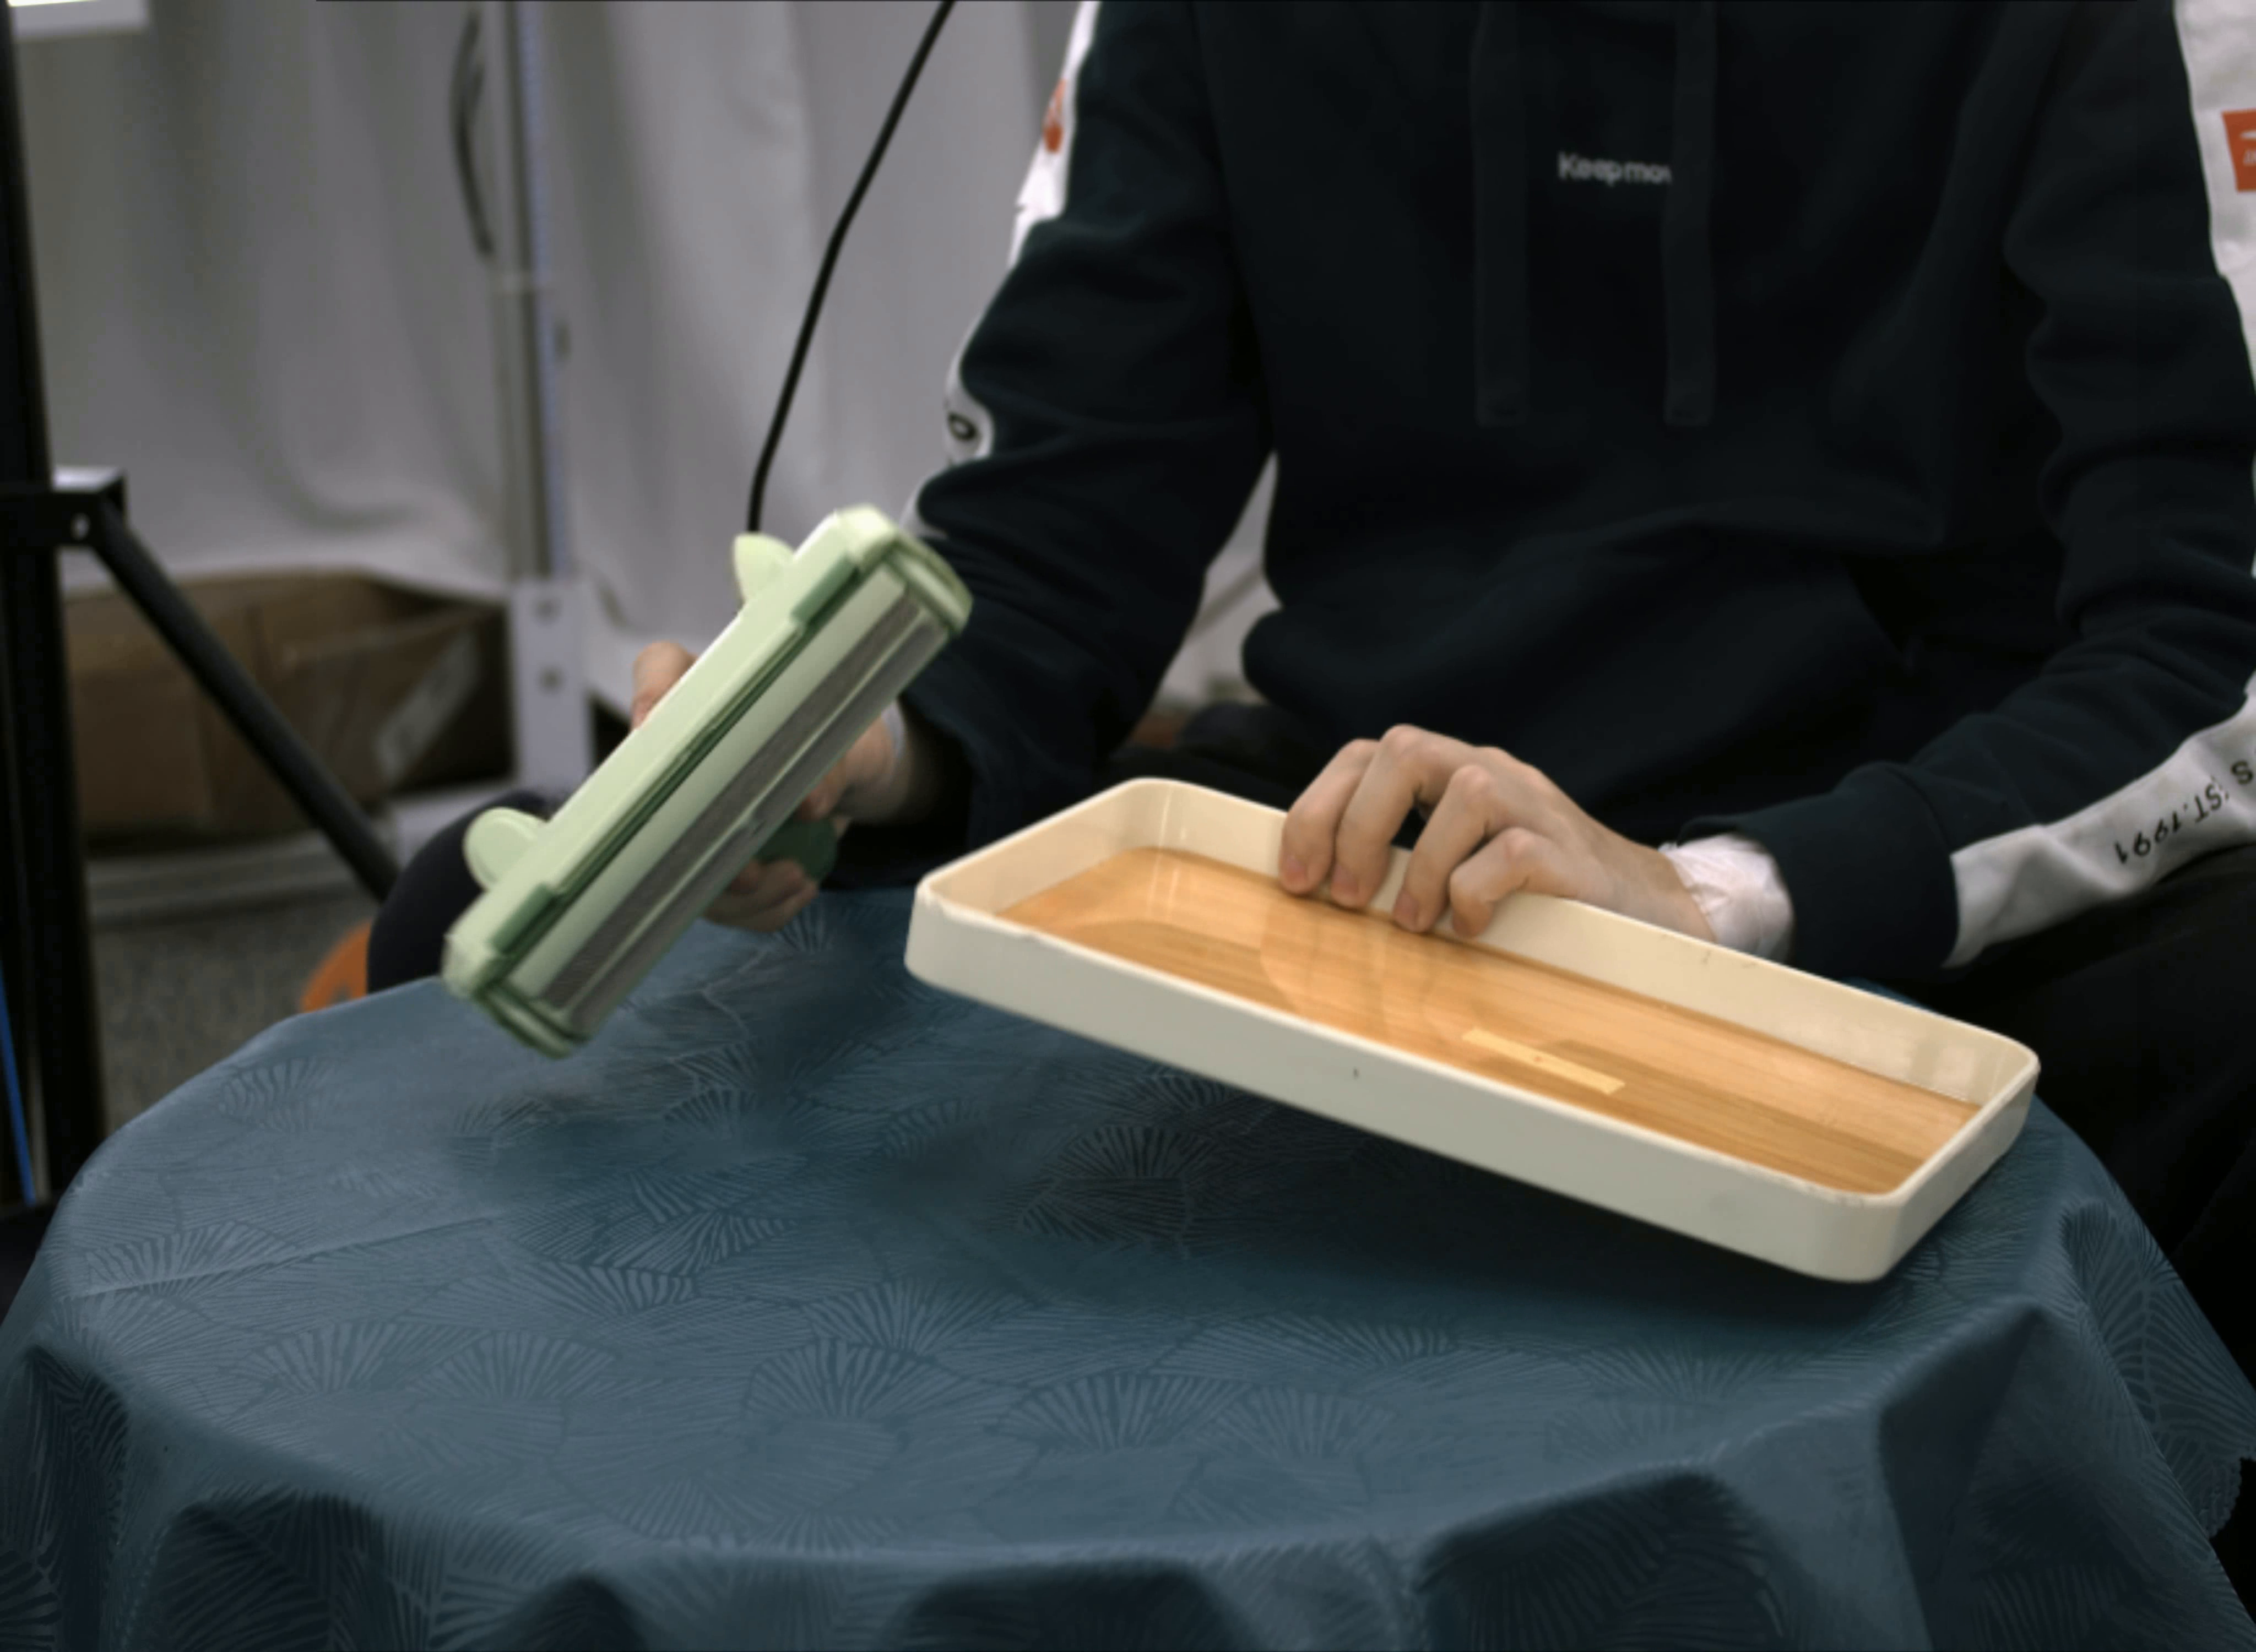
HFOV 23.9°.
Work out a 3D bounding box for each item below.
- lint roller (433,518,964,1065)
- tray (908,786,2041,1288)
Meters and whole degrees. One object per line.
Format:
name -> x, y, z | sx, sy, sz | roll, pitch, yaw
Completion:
lint roller -> -0.137, -0.014, 1.710 | 0.198, 0.082, 0.183 | -46, -2, 0
tray -> 0.103, 0.057, 1.540 | 0.304, 0.027, 0.188 | 17, 17, 21
